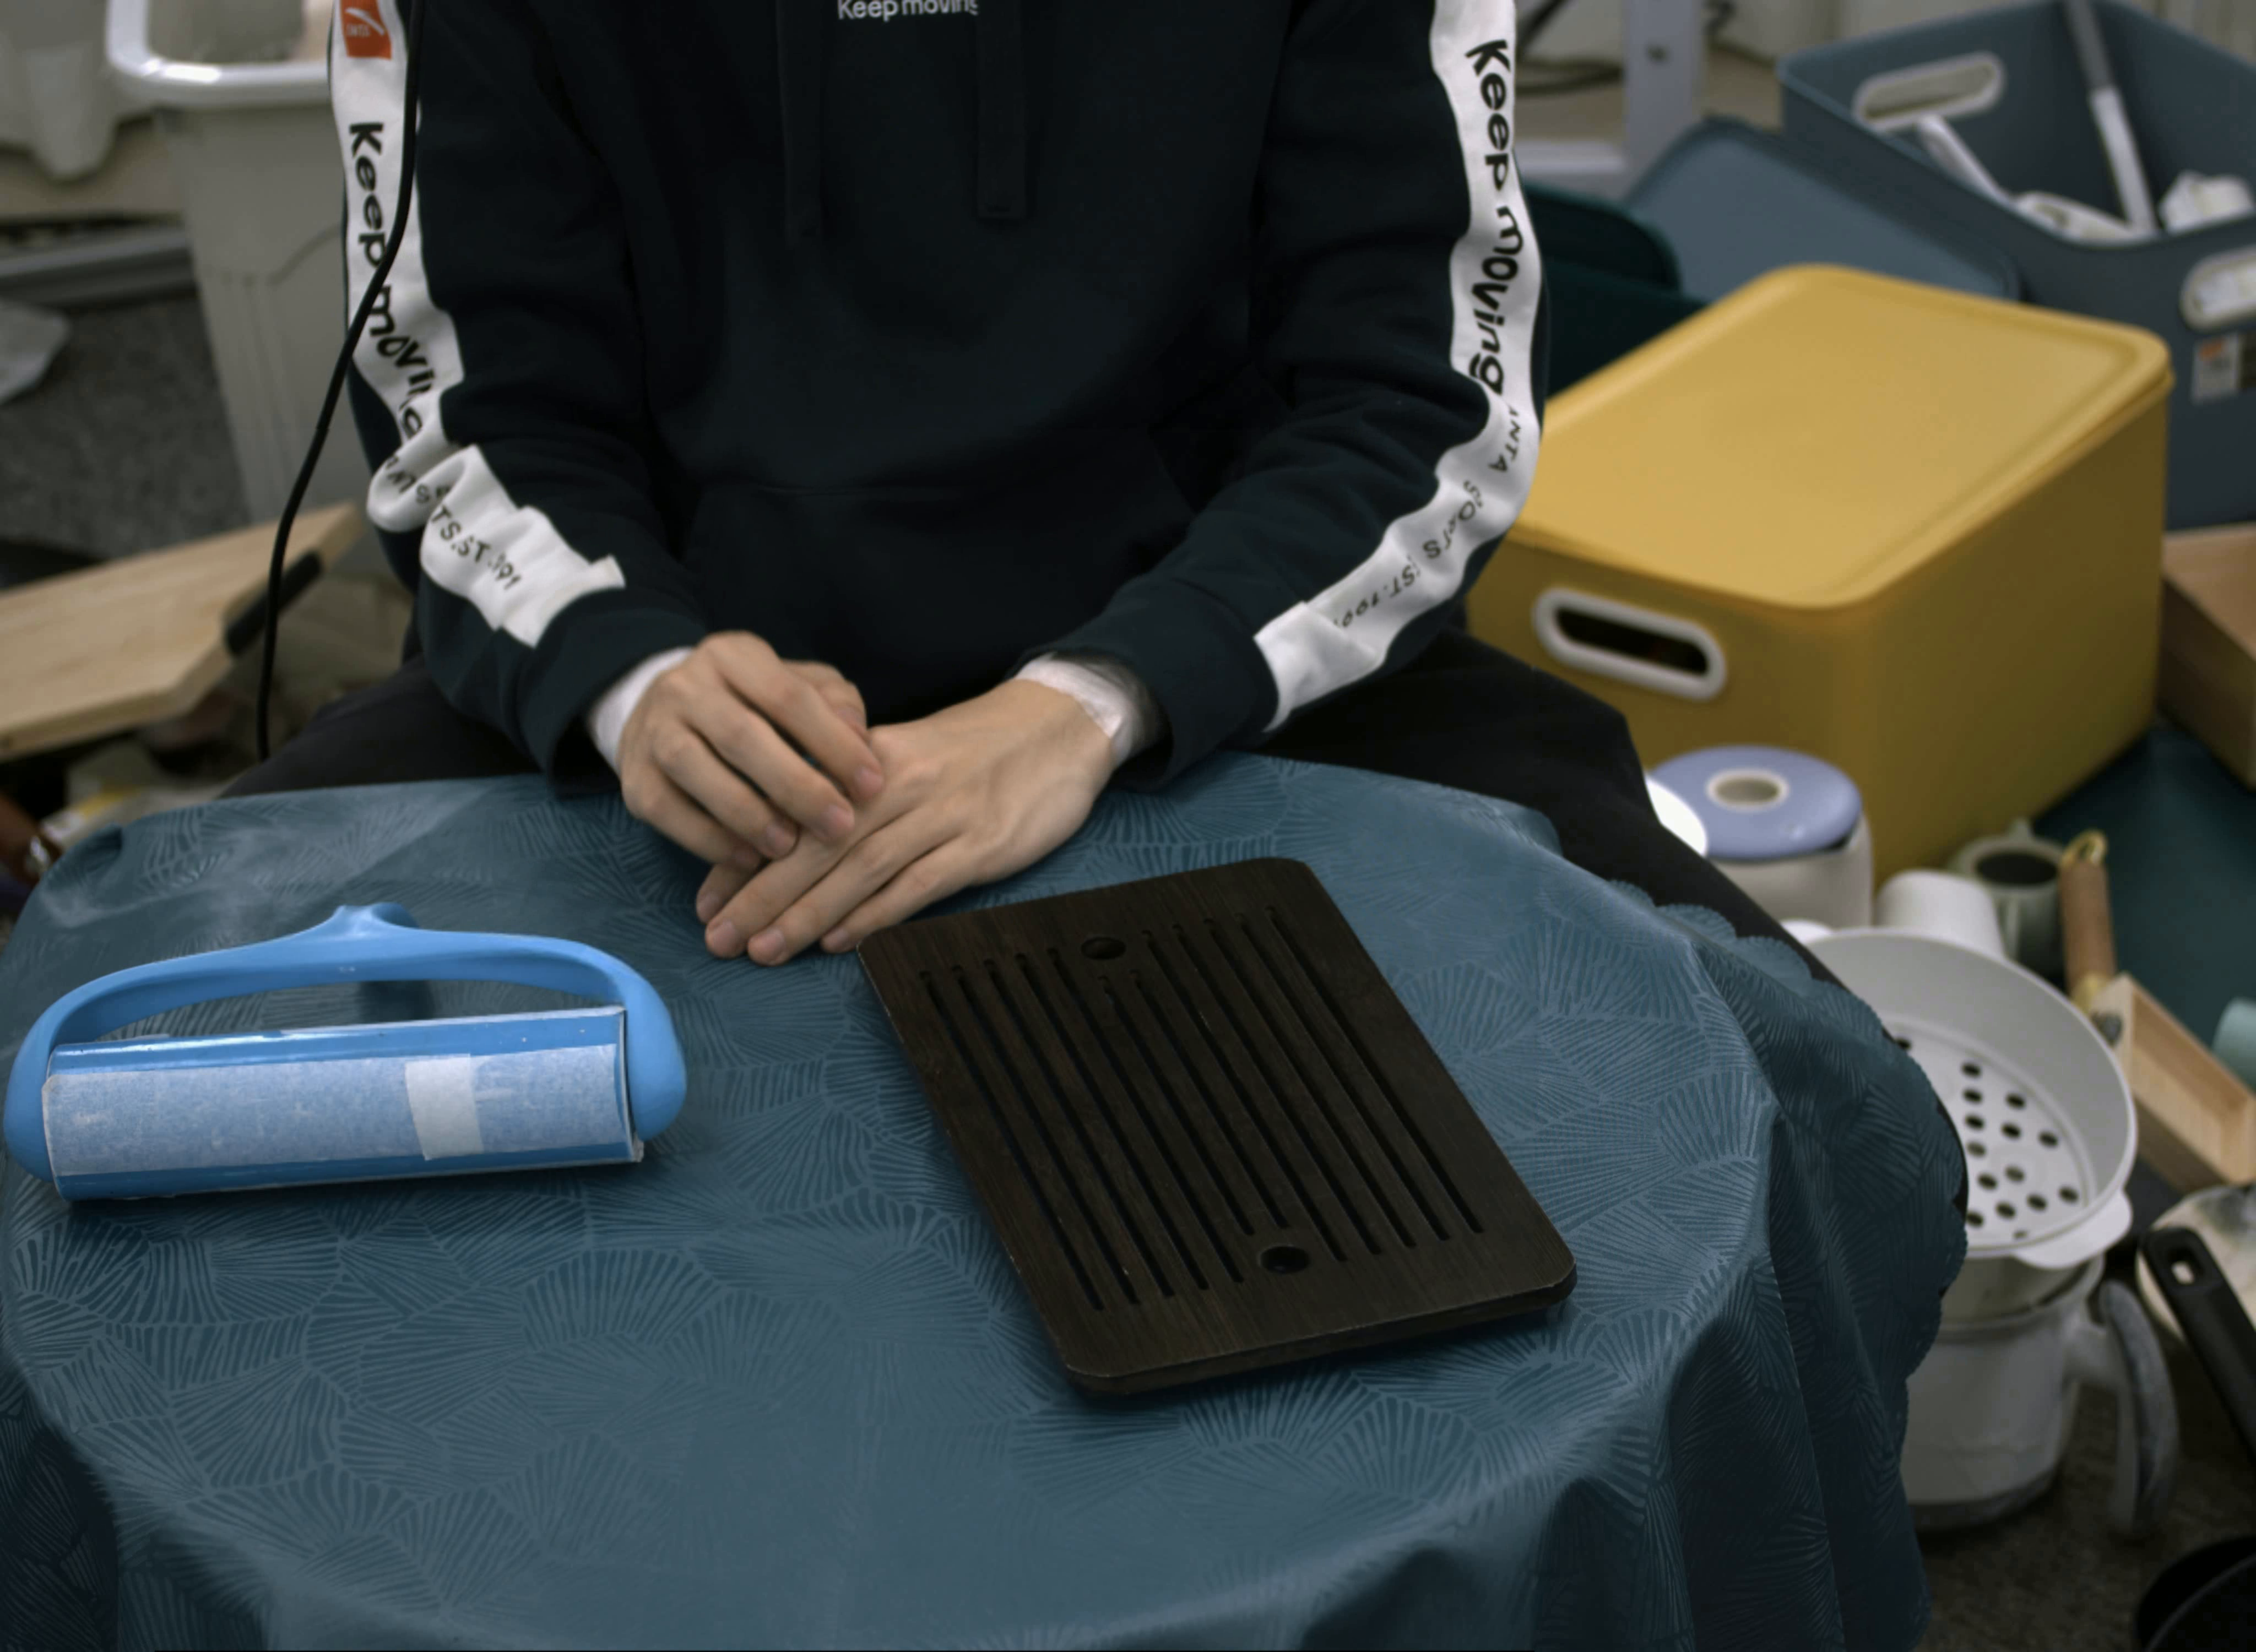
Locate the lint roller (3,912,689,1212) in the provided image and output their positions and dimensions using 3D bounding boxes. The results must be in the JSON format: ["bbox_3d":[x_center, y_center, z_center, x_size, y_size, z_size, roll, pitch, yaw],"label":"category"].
[{"bbox_3d":[-0.267,0.065,1.933,0.228,0.067,0.183,-7,29,-3],"label":"lint roller"}]

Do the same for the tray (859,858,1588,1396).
[{"bbox_3d":[0.025,0.097,1.885,0.170,0.018,0.309,-10,28,-13],"label":"tray"}]
